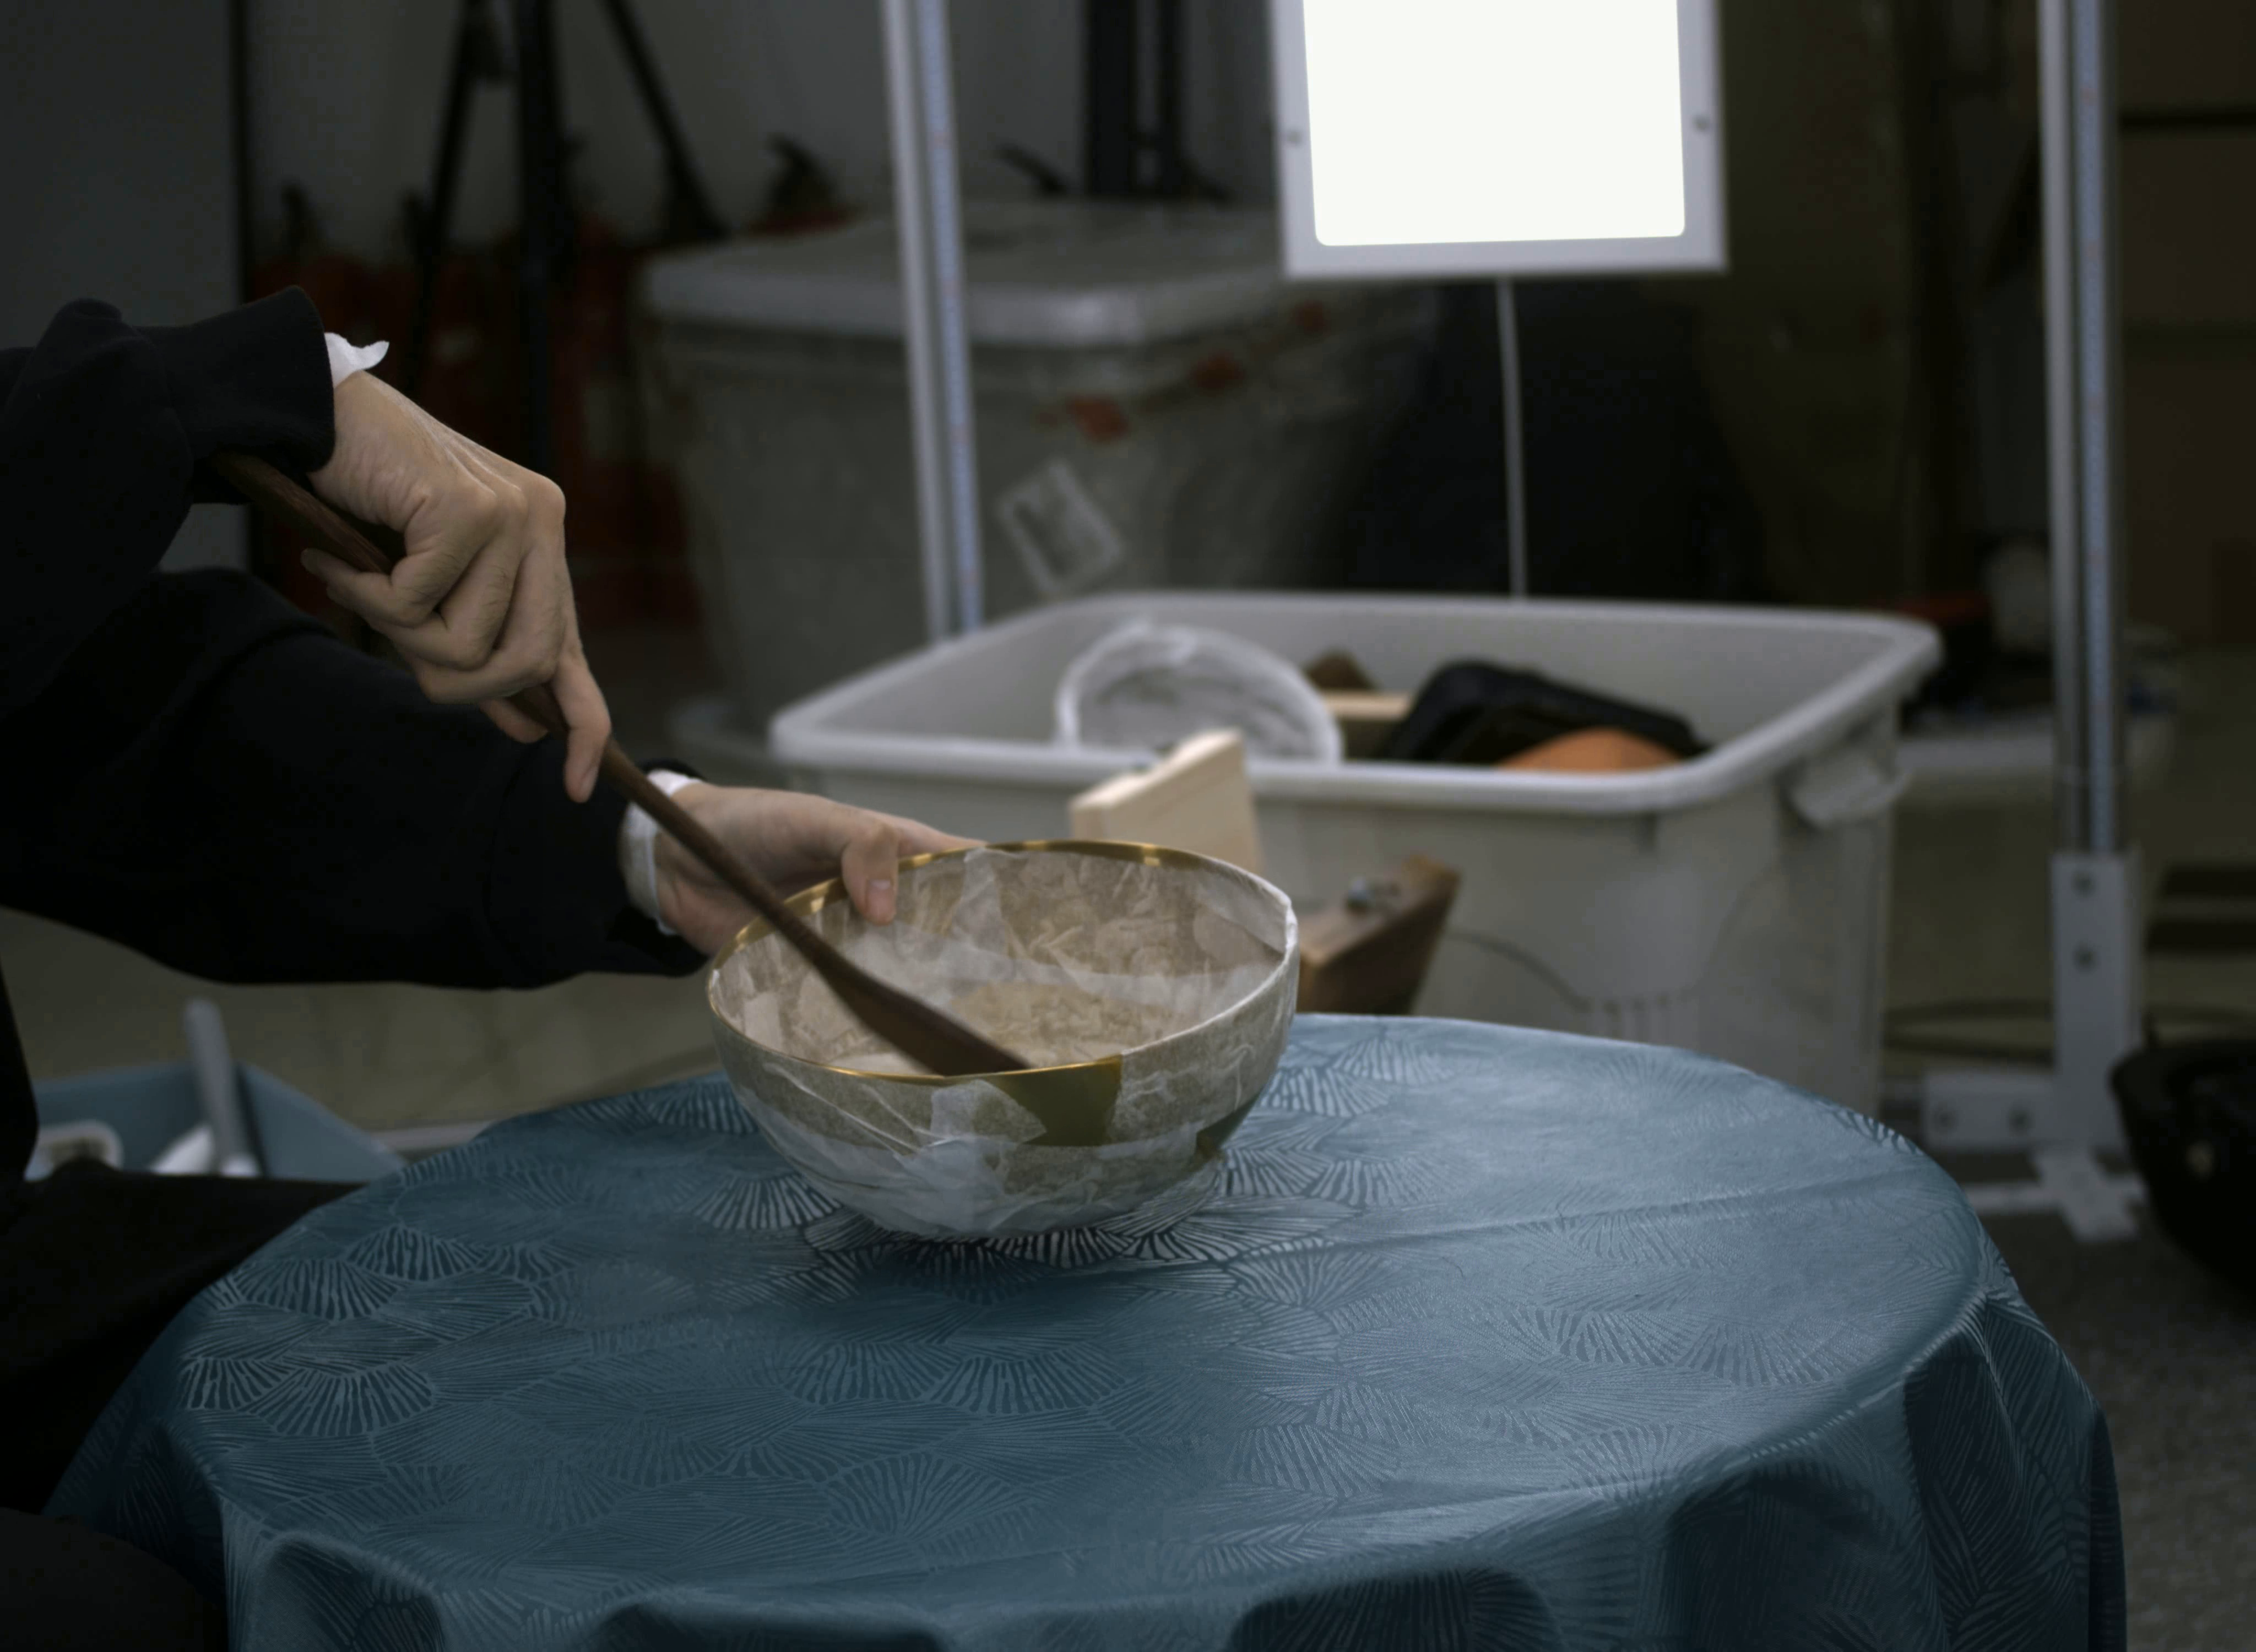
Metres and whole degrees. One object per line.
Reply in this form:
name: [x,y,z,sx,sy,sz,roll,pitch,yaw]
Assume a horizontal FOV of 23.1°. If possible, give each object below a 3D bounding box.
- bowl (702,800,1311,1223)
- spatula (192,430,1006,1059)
bowl: [-0.043,0.074,1.871,0.214,0.095,0.214,0,26,-2]
spatula: [-0.156,-0.008,1.798,0.015,0.382,0.098,-54,22,-15]
